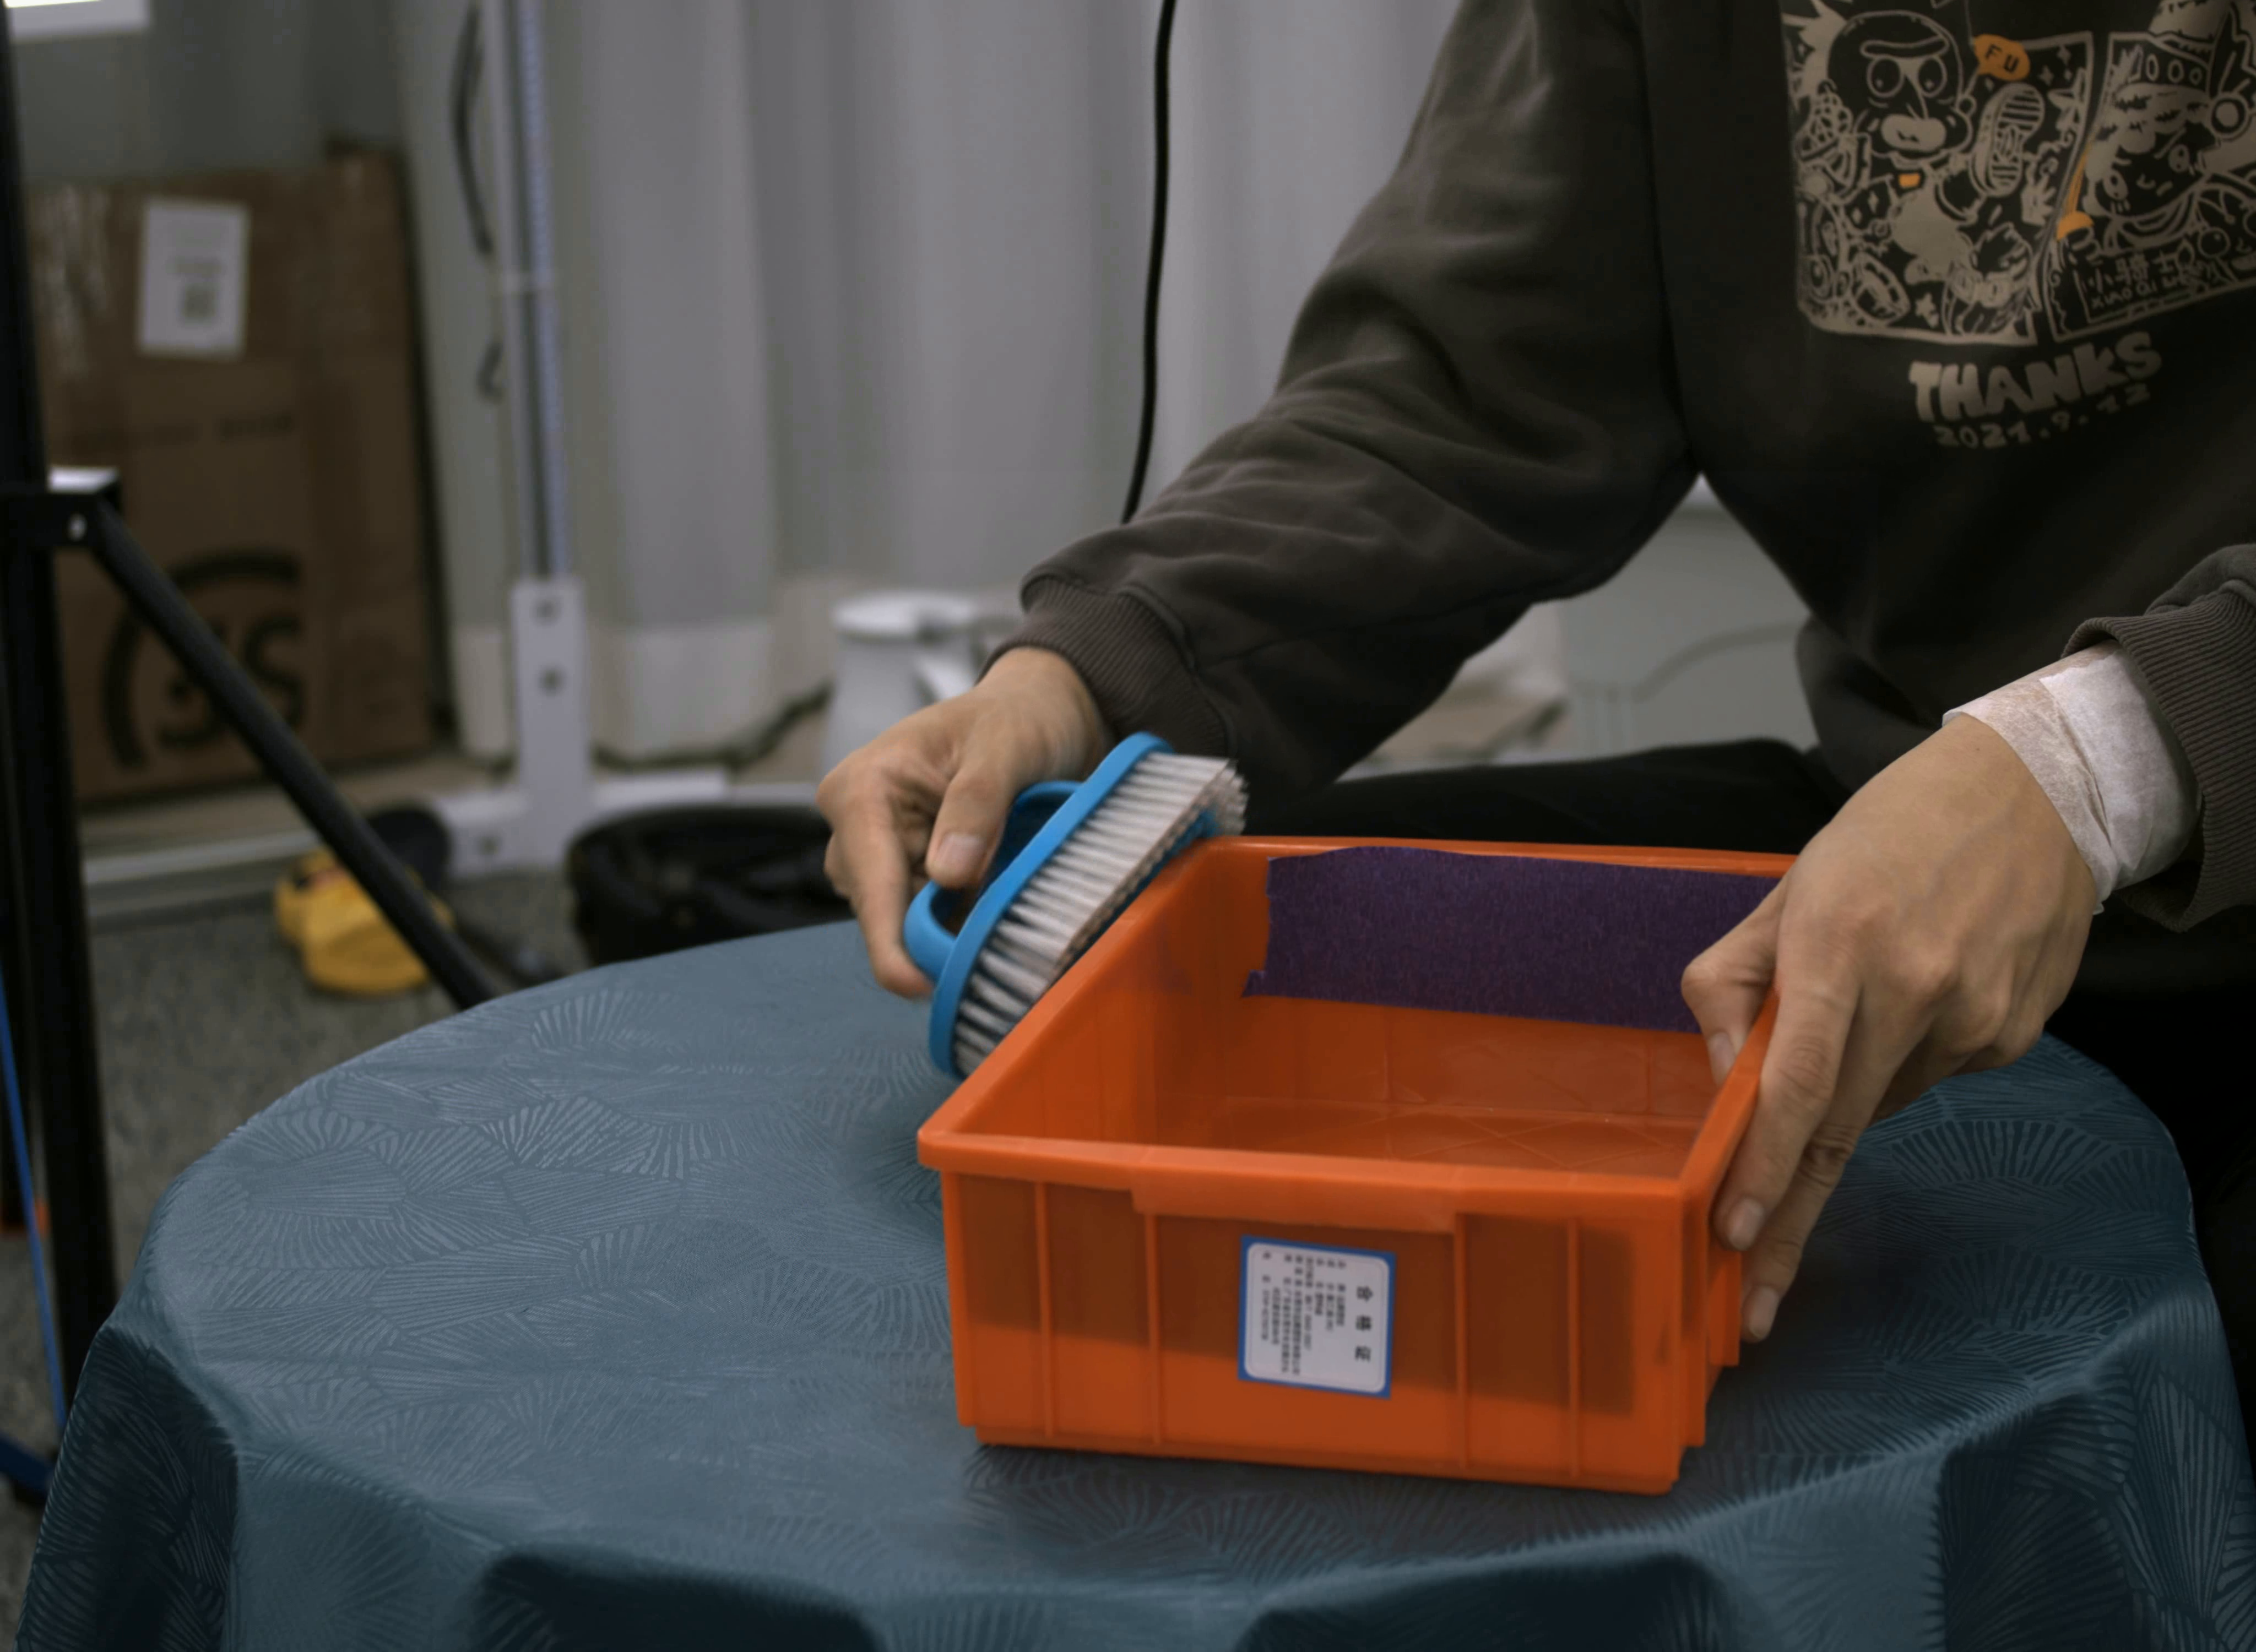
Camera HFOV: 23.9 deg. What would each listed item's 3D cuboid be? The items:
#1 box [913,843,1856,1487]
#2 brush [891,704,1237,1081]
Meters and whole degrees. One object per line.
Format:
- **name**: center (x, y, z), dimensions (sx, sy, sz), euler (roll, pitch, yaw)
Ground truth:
- **box**: center (0.081, 0.087, 1.463), dimensions (0.208, 0.096, 0.301), euler (2, 17, 16)
- **brush**: center (-0.027, 0.021, 1.593), dimensions (0.065, 0.084, 0.140), euler (21, 47, 23)
